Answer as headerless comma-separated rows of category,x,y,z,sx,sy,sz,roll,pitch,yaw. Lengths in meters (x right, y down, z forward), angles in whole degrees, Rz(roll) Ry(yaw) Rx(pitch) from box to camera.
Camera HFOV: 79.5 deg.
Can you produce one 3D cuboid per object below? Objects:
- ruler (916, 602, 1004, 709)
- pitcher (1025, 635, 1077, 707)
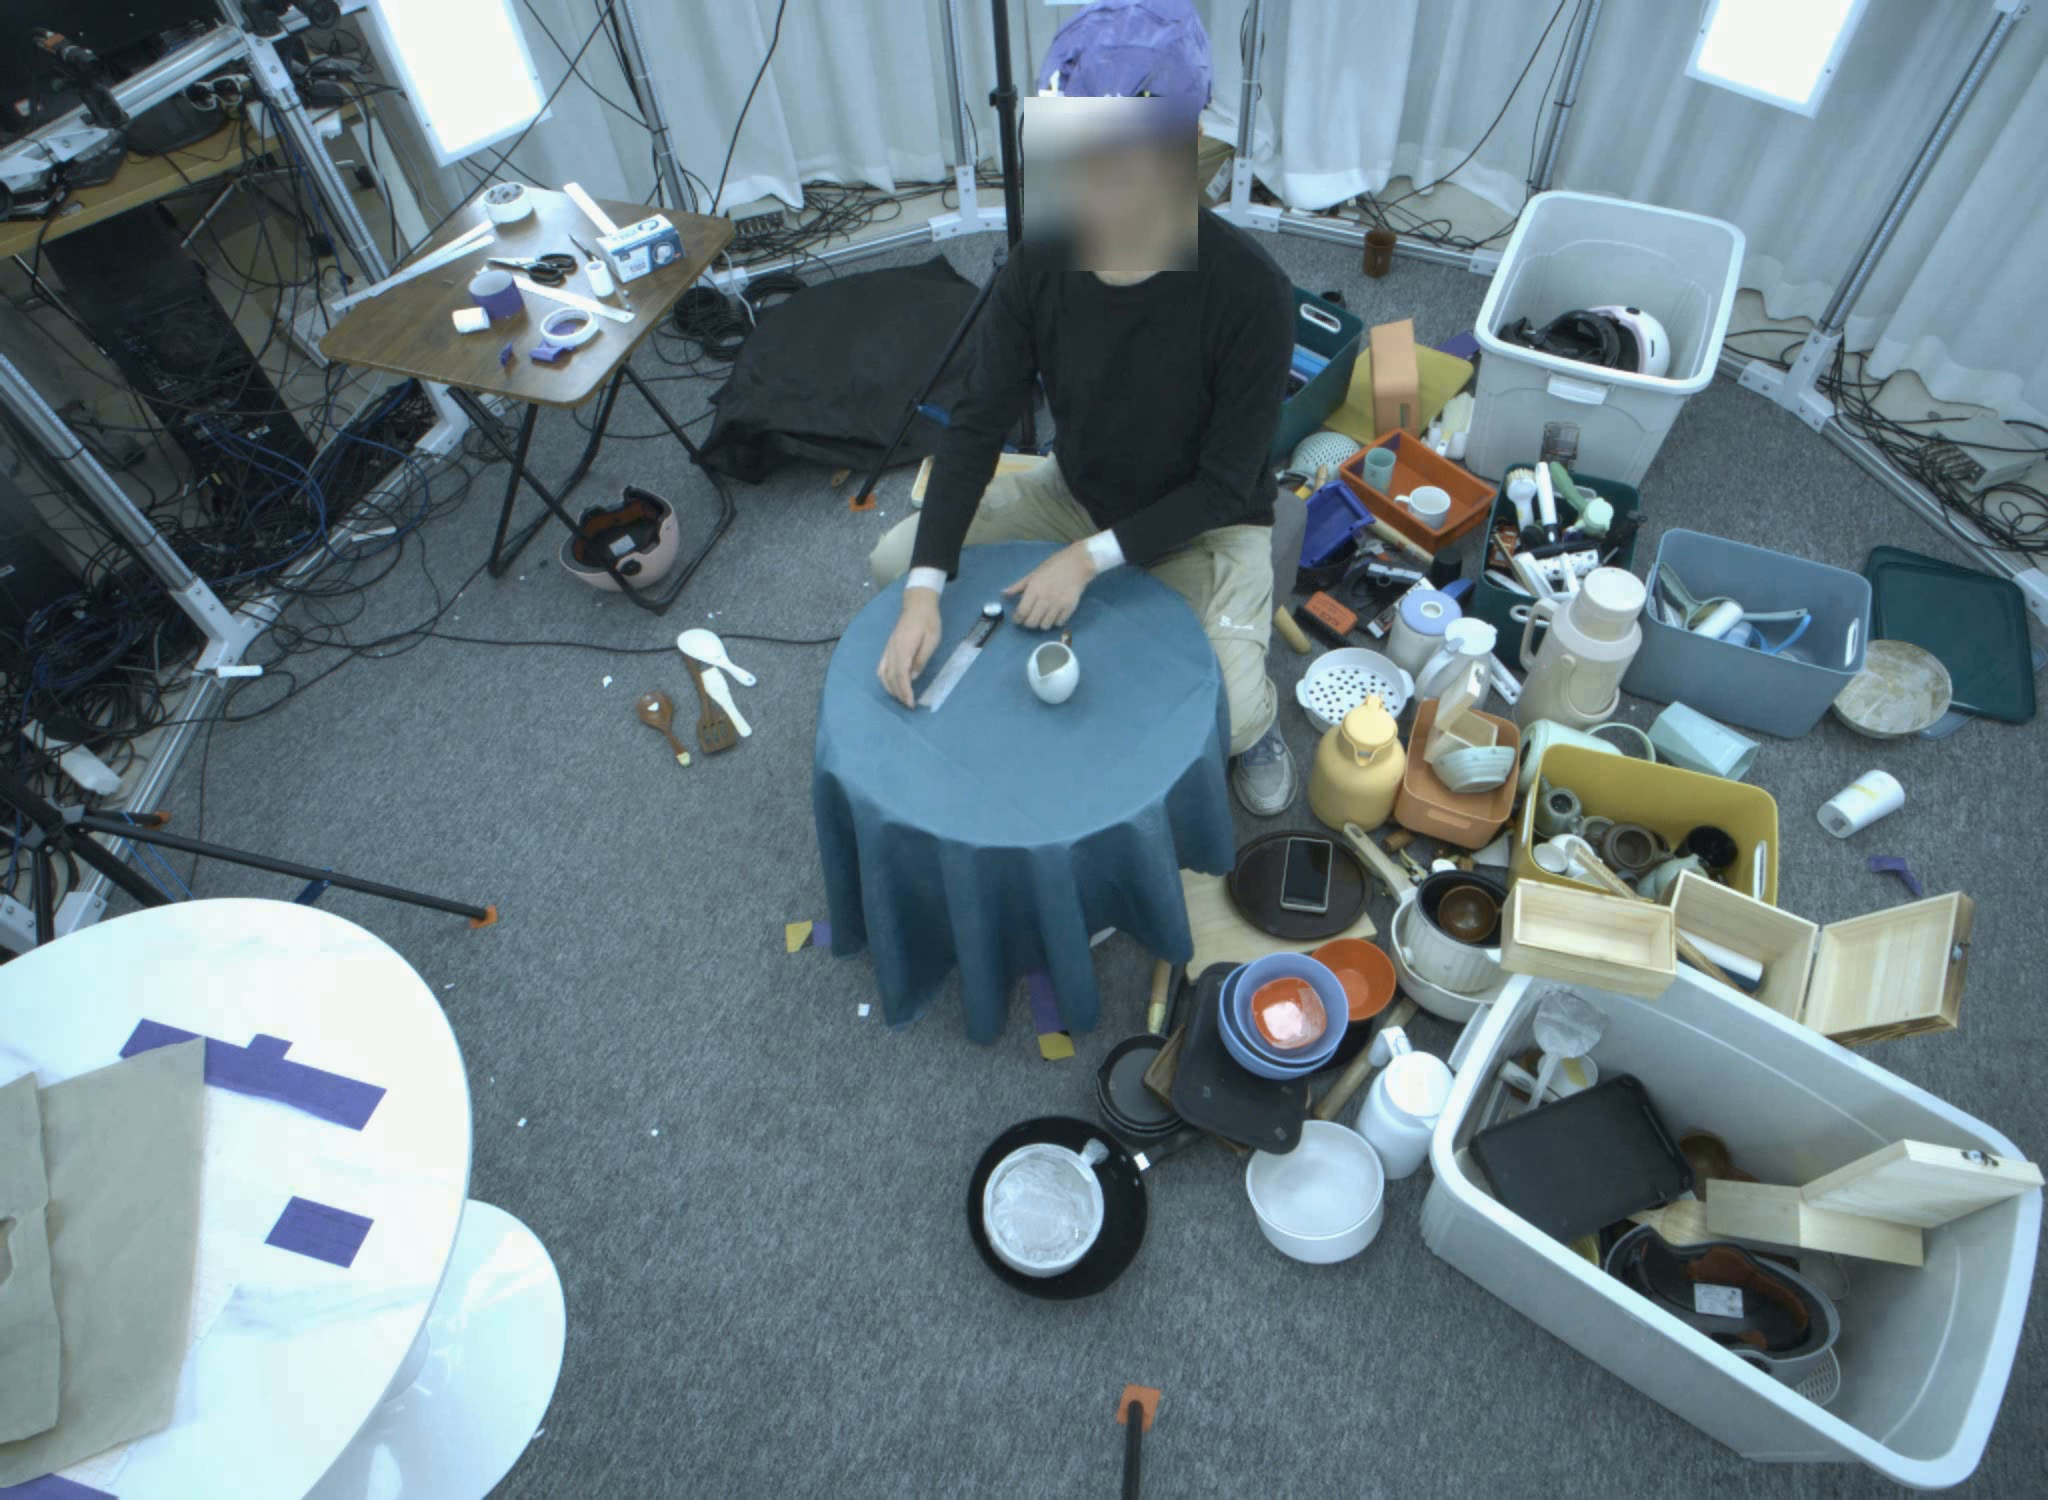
ruler,-0.096,-0.149,1.882,0.037,0.024,0.219,19,56,24
pitcher,0.043,-0.112,1.812,0.075,0.088,0.119,23,60,14
